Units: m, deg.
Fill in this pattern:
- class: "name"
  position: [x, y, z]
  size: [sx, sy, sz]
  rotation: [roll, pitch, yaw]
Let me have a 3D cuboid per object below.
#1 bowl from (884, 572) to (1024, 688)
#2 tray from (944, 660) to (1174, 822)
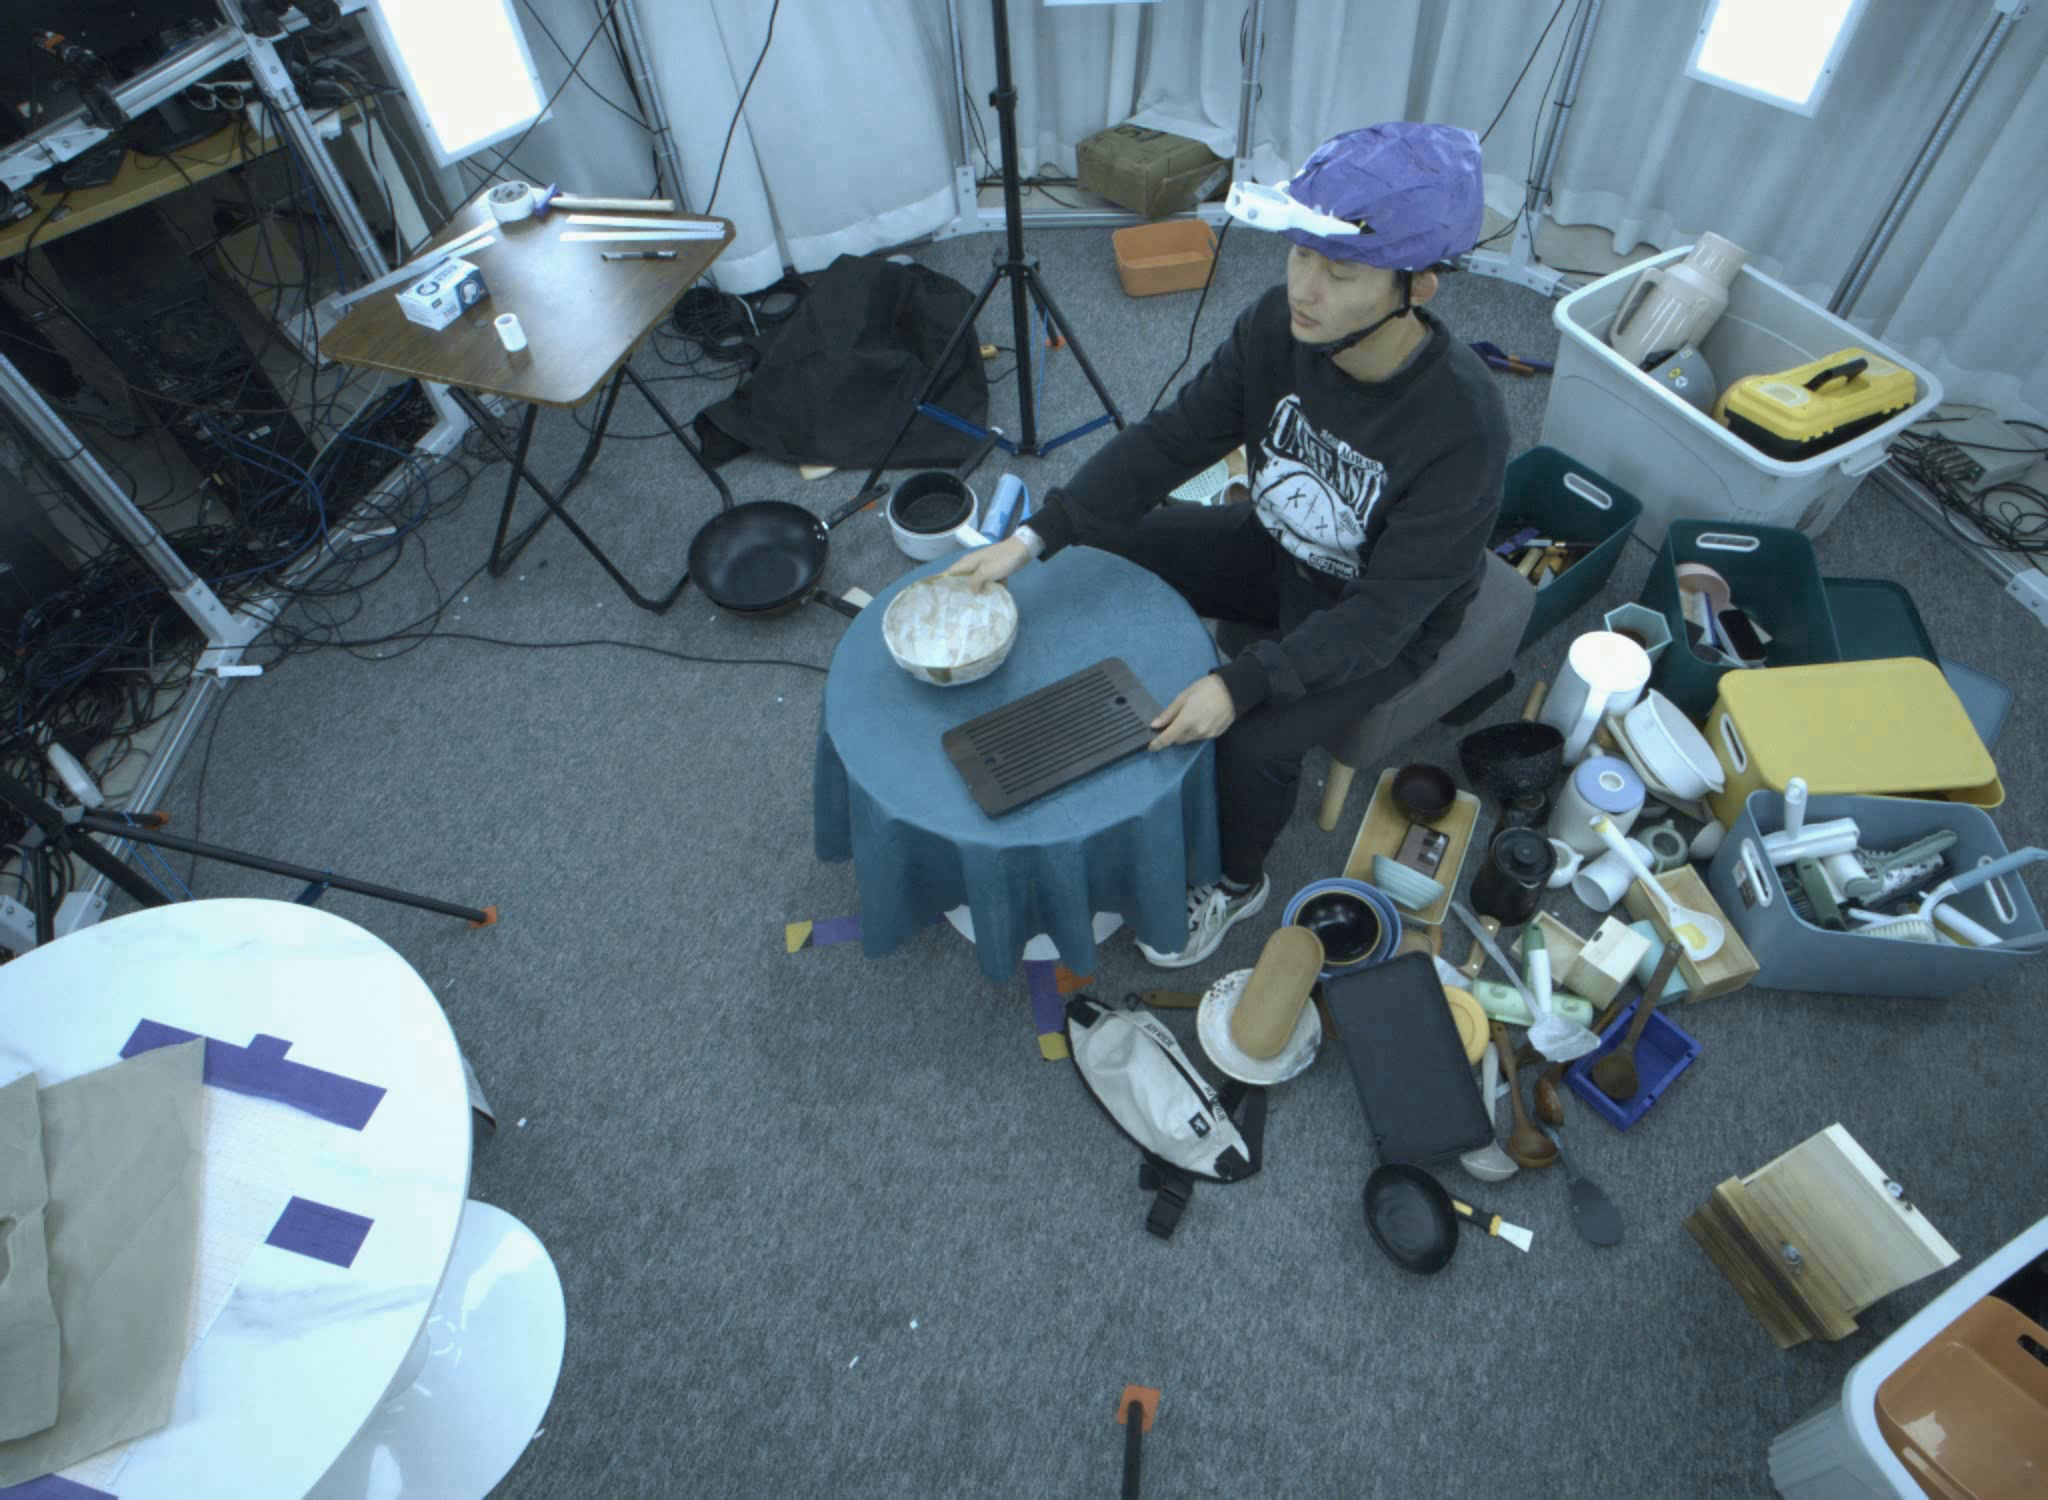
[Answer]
- class: "bowl"
  position: [-0.100, -0.164, 1.858]
  size: [0.214, 0.096, 0.212]
  rotation: [-2, 52, 4]
- class: "tray"
  position: [0.051, -0.016, 1.794]
  size: [0.308, 0.019, 0.167]
  rotation: [-25, 57, -15]
